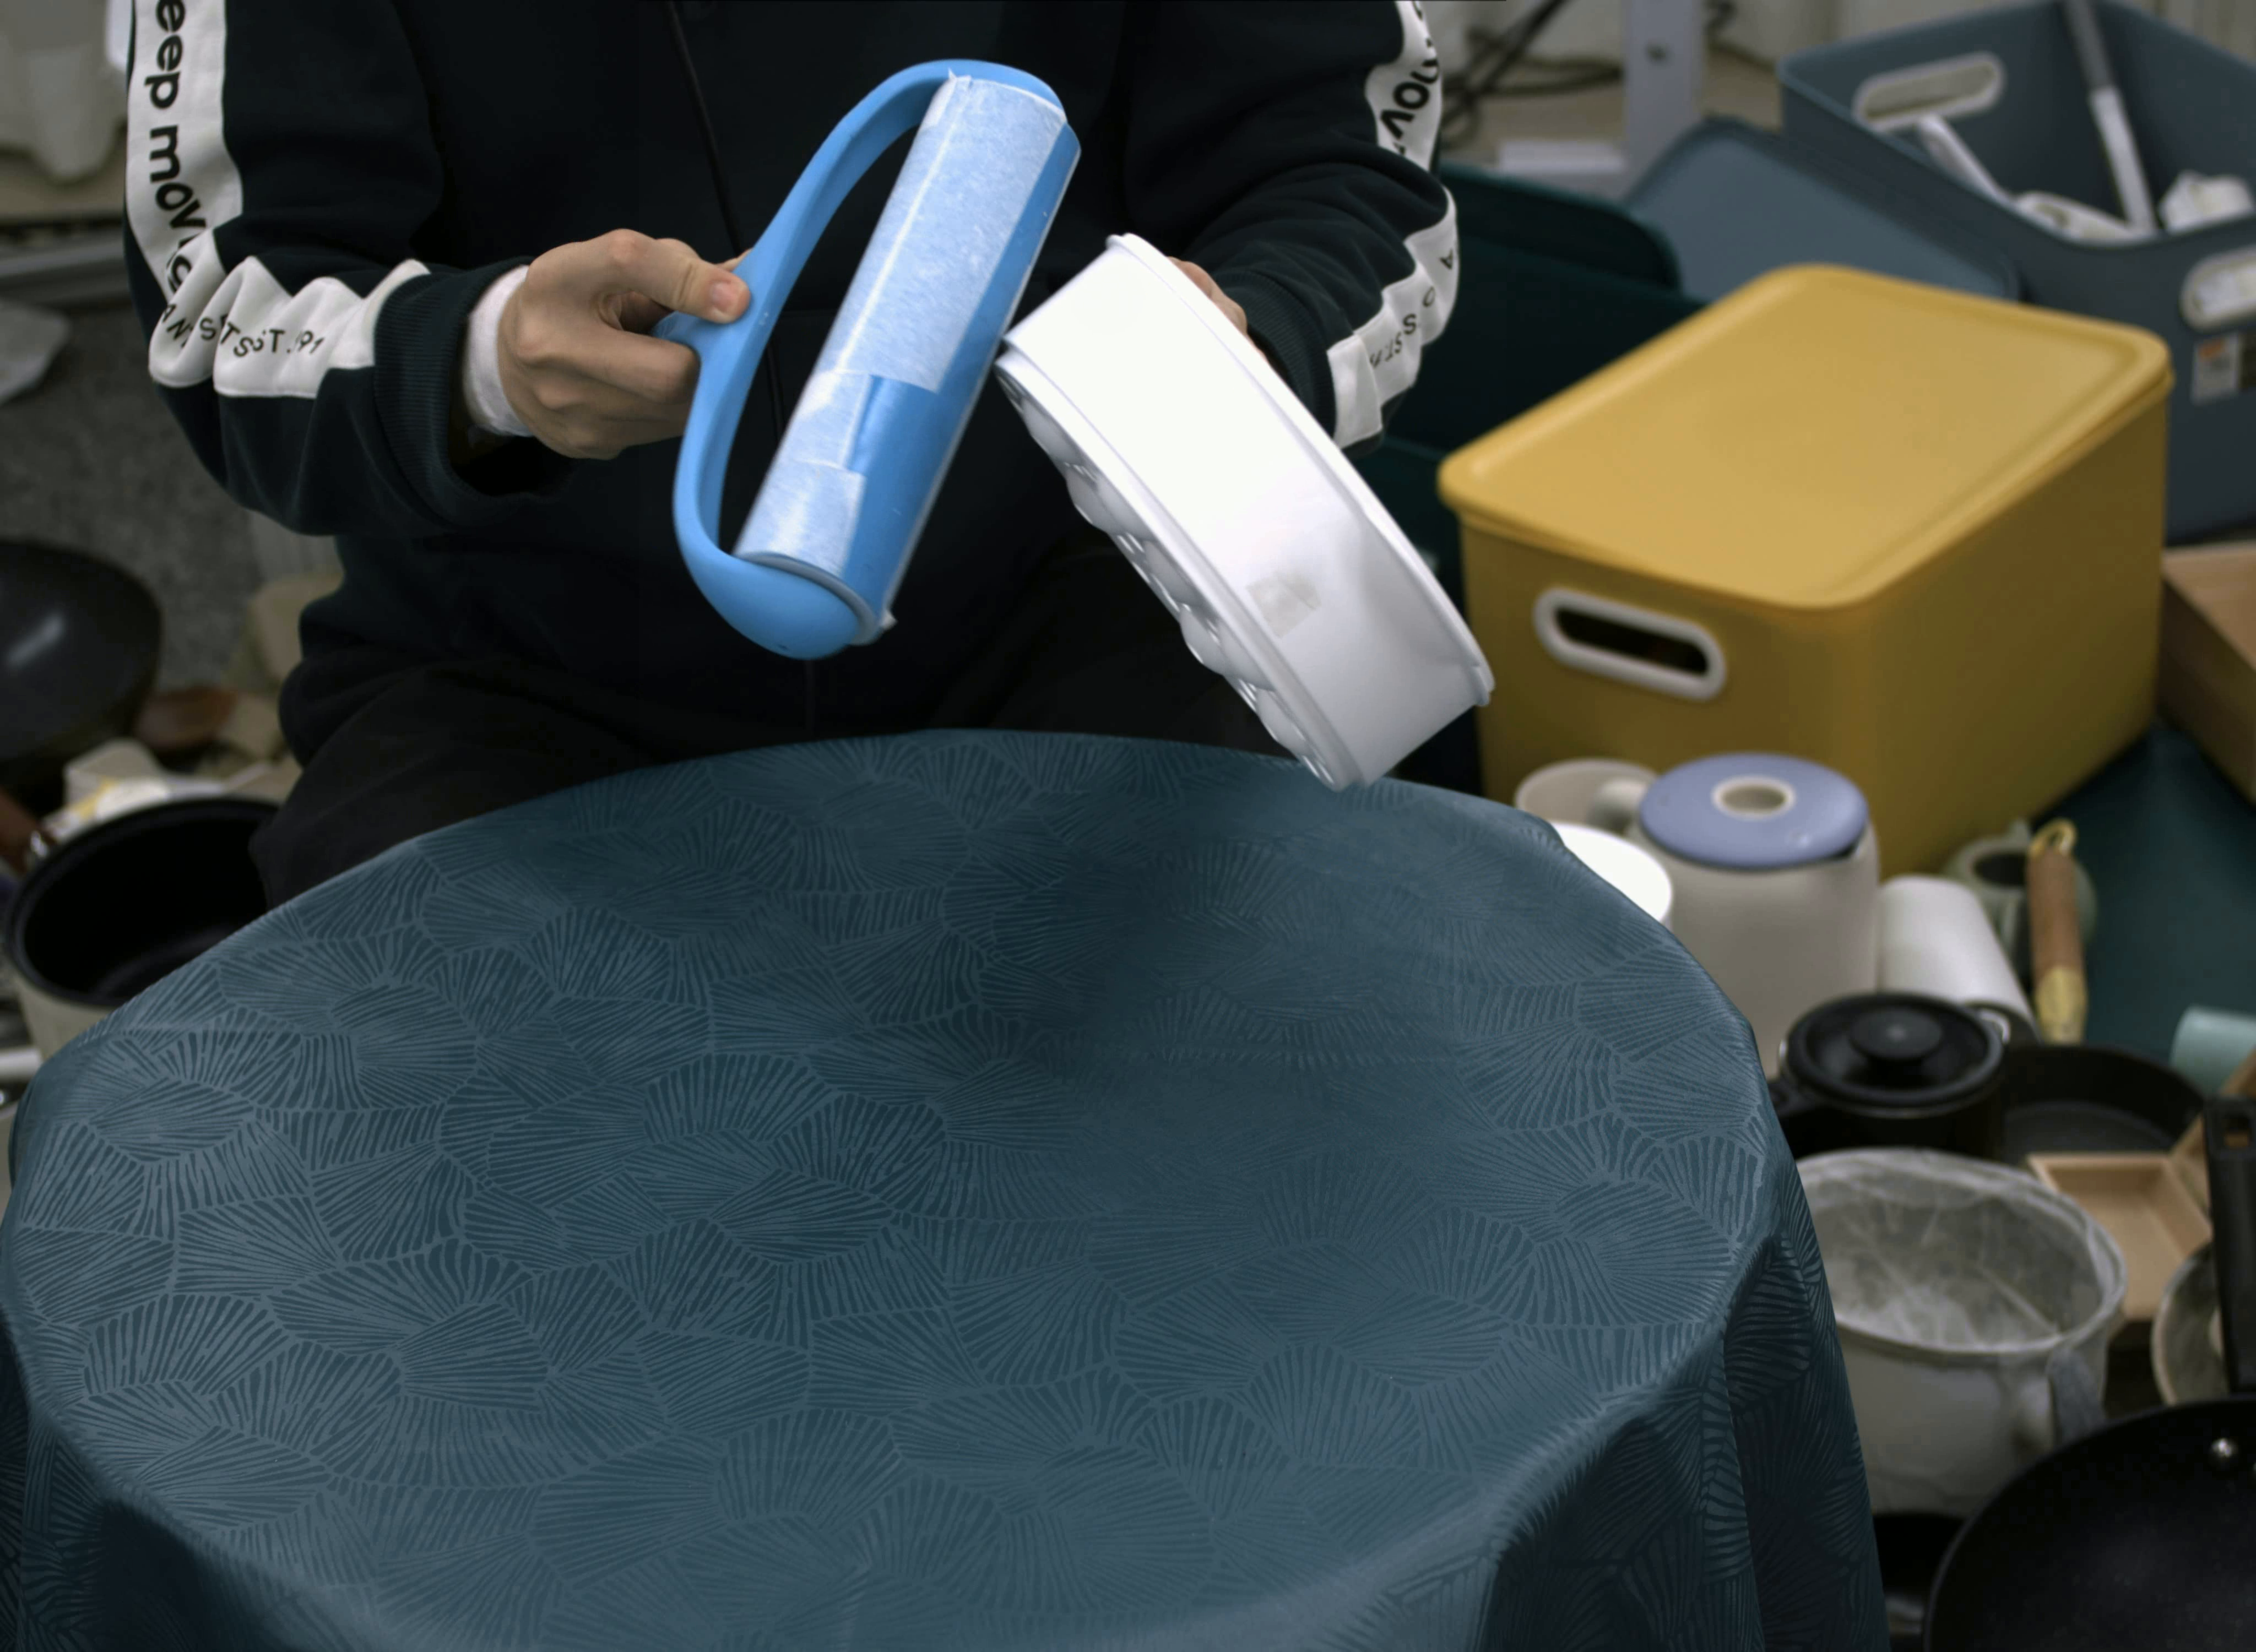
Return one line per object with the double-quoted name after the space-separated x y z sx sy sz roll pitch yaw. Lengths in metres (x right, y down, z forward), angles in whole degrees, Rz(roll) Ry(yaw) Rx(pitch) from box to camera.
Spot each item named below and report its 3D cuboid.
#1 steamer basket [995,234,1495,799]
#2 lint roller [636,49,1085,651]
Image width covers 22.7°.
0.035 -0.099 1.876 0.069 0.200 0.232 -39 35 -4 "steamer basket"
-0.116 -0.155 1.900 0.178 0.067 0.233 -6 55 38 "lint roller"
